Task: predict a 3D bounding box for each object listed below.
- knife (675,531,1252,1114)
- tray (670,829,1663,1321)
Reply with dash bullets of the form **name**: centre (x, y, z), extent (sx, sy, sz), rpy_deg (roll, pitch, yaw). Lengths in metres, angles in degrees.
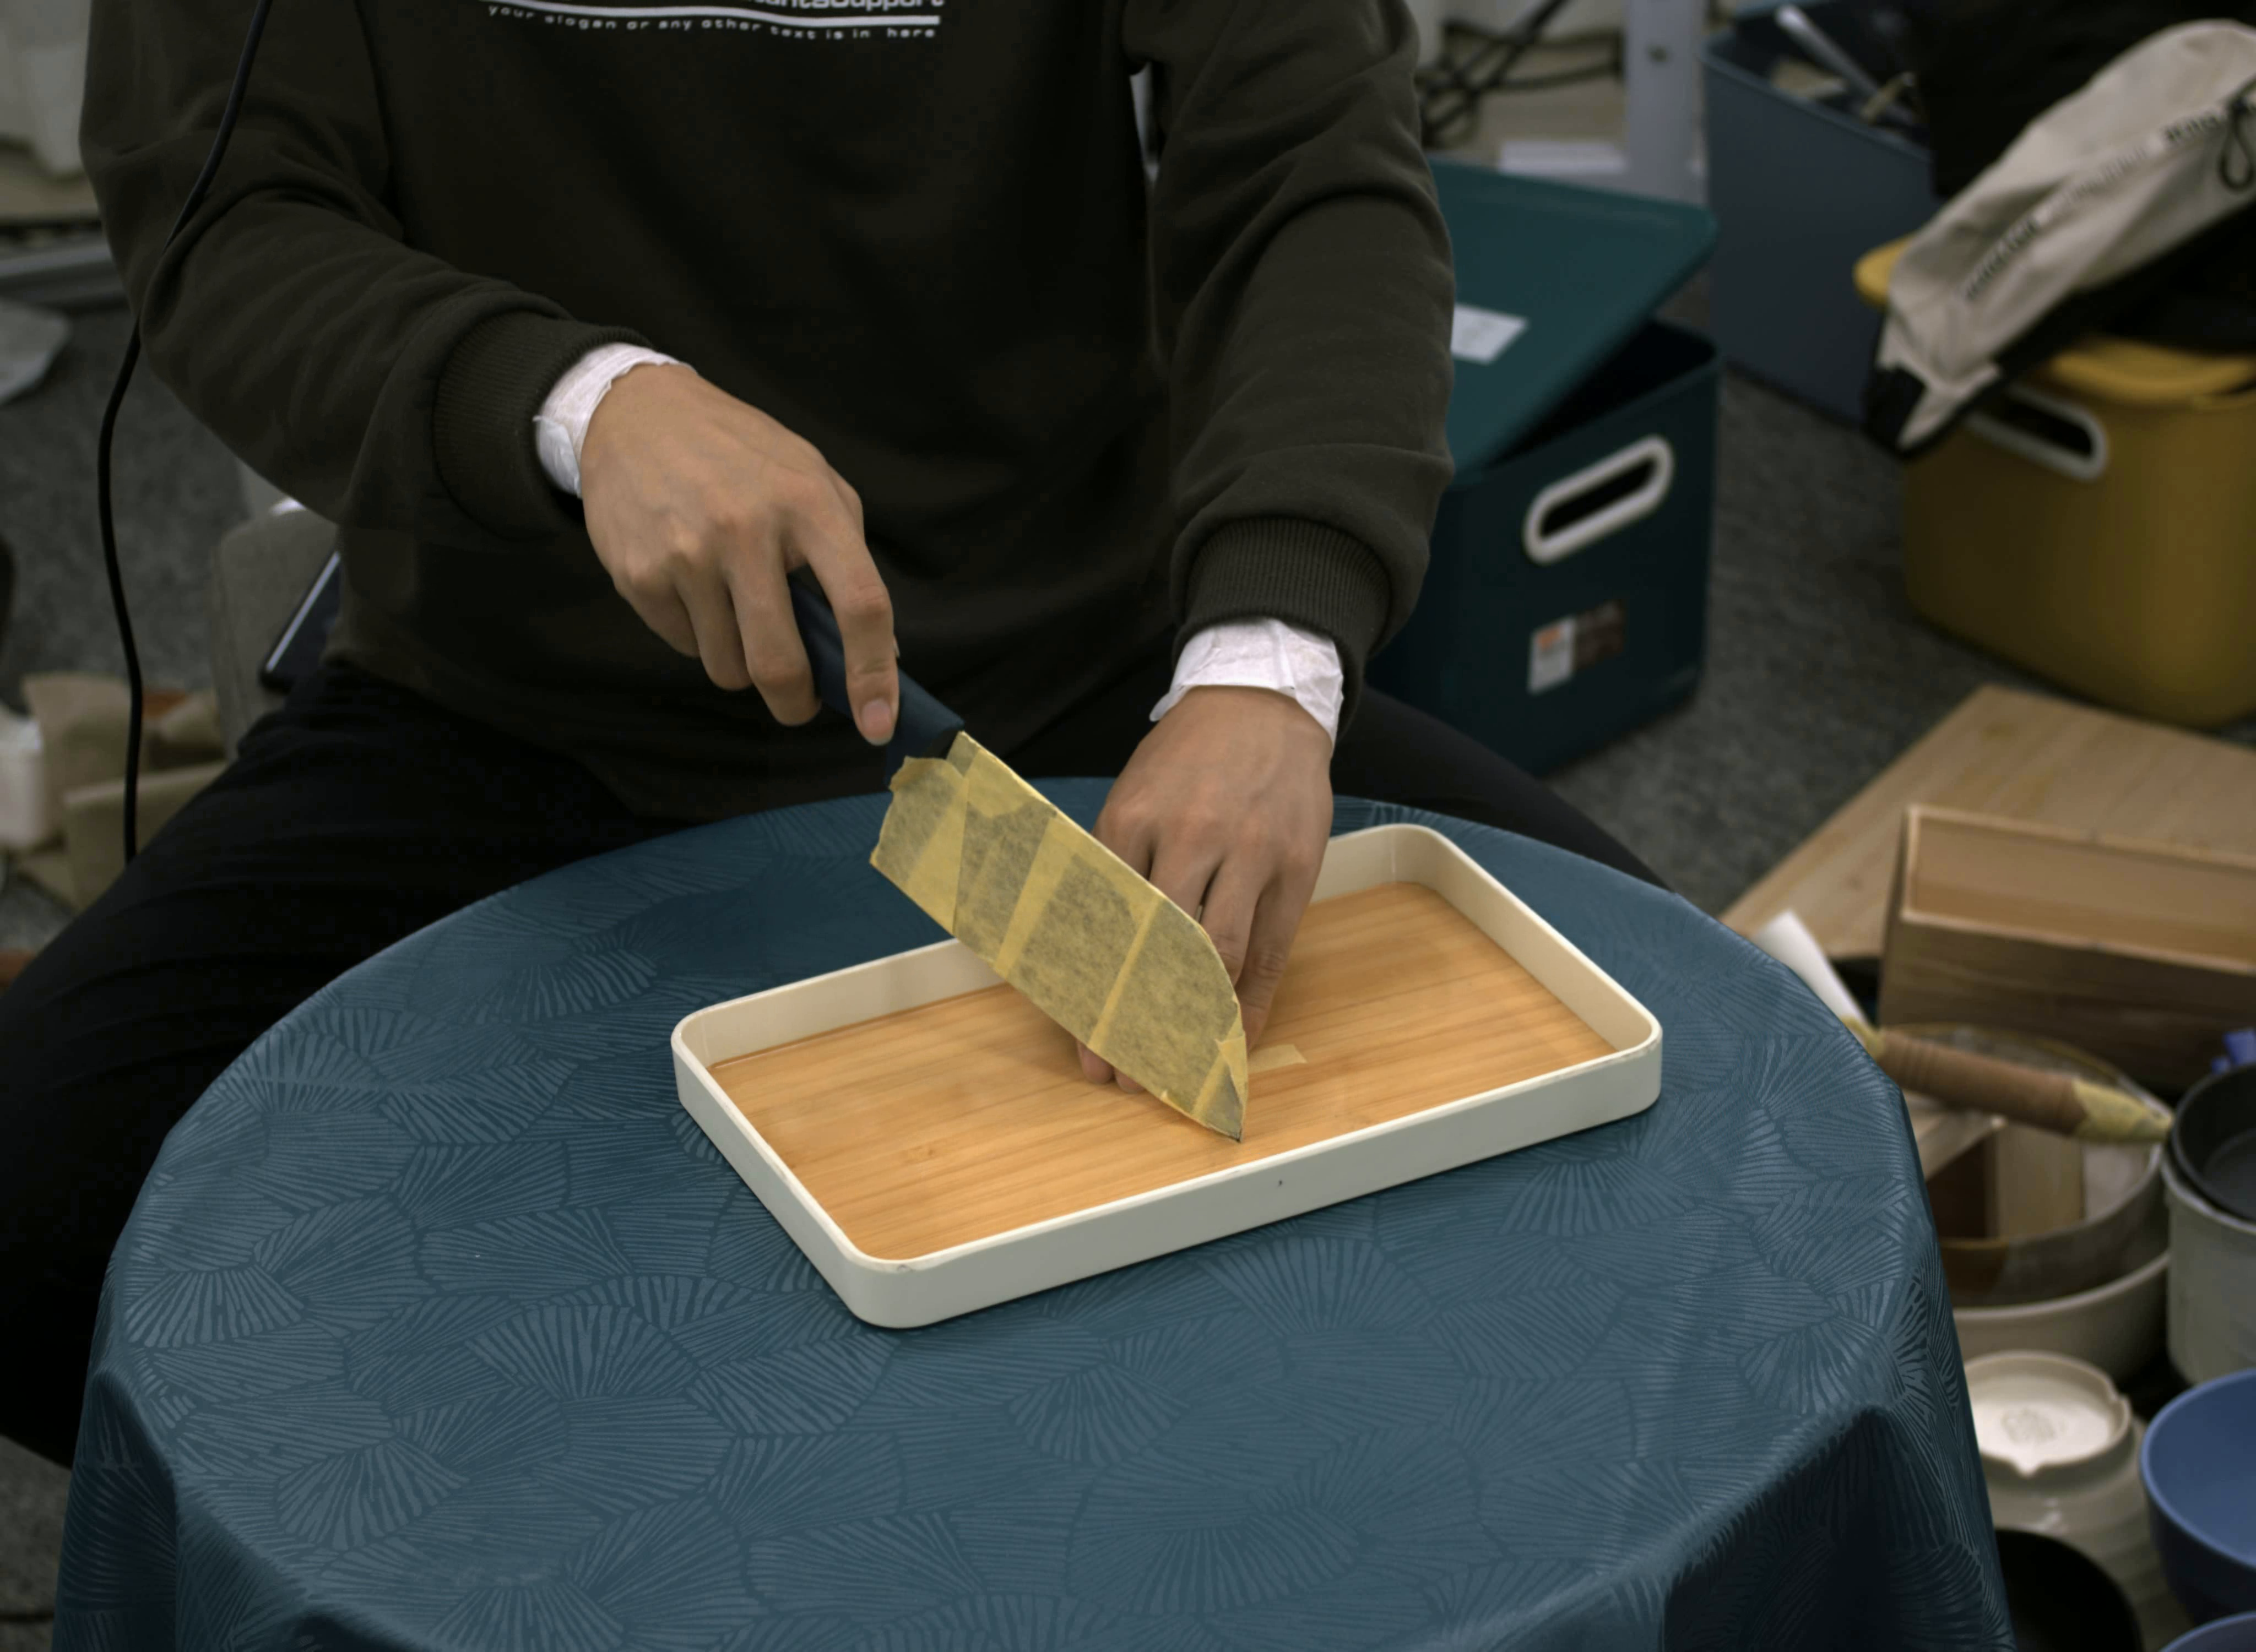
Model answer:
- **knife**: centre (-0.058, -0.001, 1.918), extent (0.291, 0.080, 0.027), rpy_deg (43, 36, 23)
- **tray**: centre (0.012, 0.080, 1.912), extent (0.301, 0.027, 0.192), rpy_deg (-14, 28, -22)
